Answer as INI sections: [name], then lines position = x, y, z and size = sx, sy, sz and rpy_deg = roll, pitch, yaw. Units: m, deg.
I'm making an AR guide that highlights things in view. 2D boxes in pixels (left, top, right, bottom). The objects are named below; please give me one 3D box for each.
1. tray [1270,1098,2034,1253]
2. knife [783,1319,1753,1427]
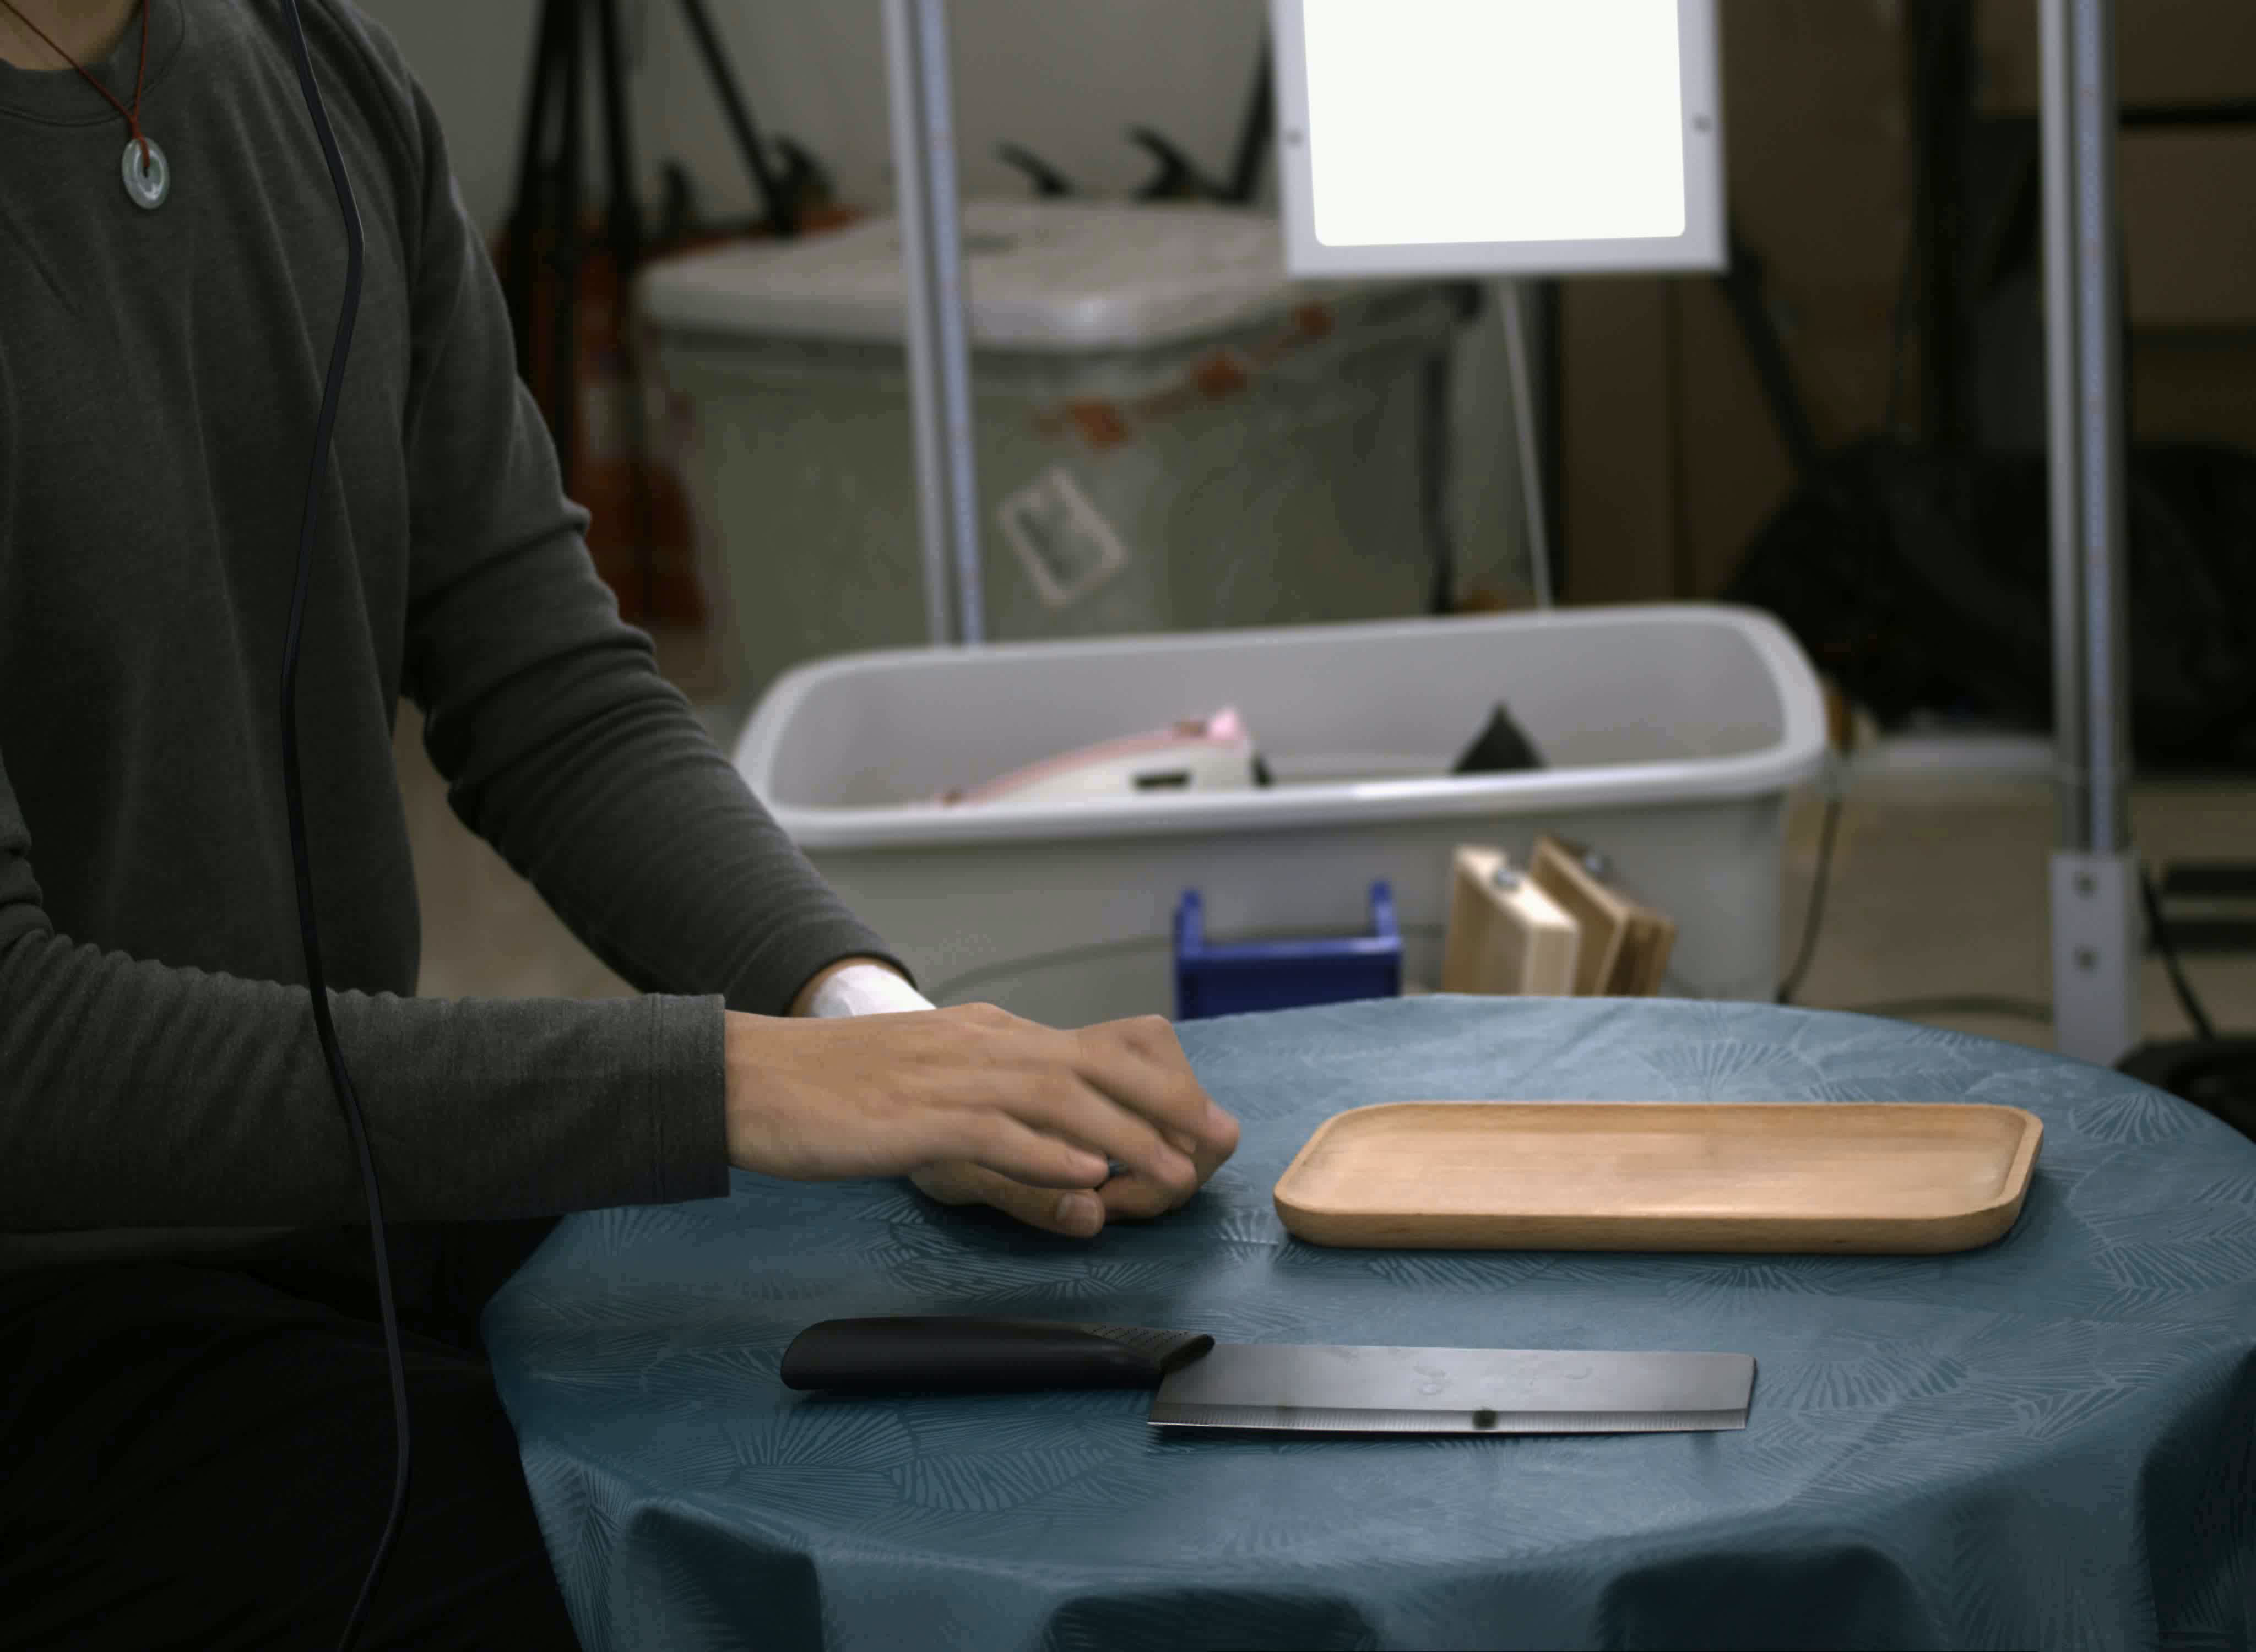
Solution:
[tray]
position = 0.178, 0.117, 1.843
size = 0.254, 0.023, 0.128
rpy_deg = -2, 12, 19
[knife]
position = 0.042, 0.169, 1.684
size = 0.305, 0.021, 0.080
rpy_deg = 1, 16, 16
